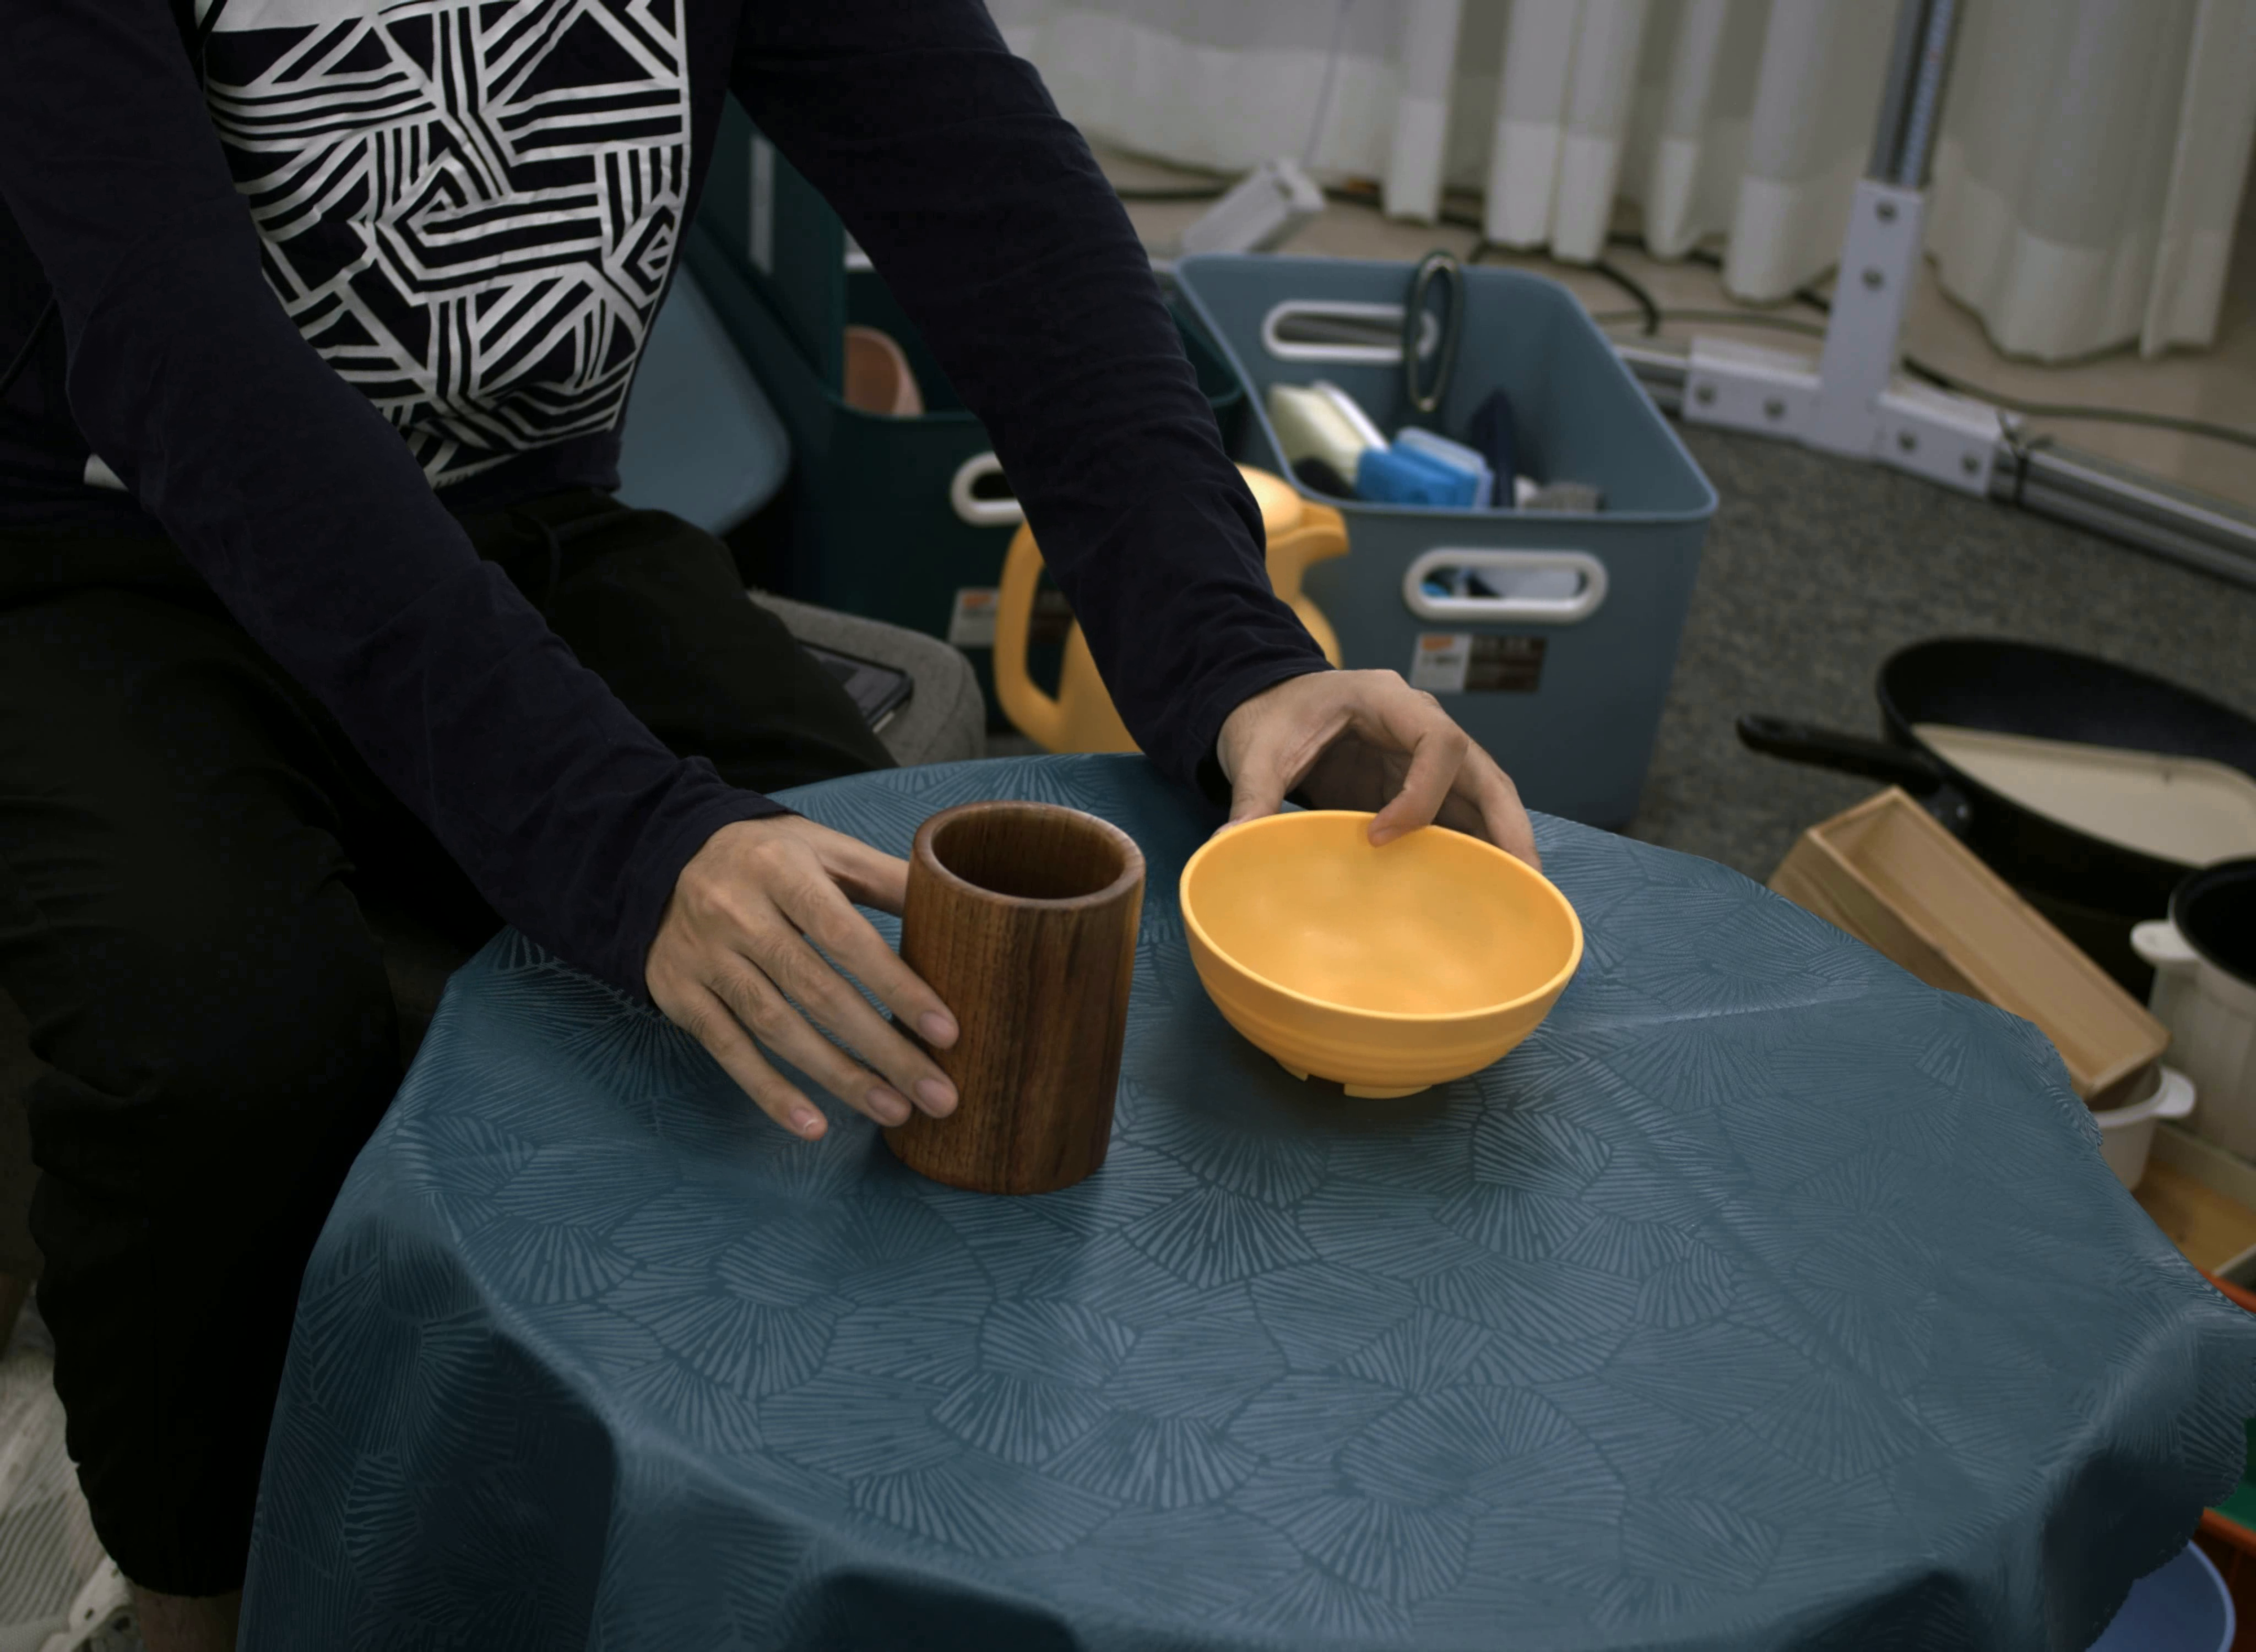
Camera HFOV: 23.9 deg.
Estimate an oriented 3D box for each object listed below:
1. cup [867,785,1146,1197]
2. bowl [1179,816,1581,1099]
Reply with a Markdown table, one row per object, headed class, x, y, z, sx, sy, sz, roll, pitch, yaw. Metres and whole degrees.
| class | x | y | z | sx | sy | sz | roll | pitch | yaw |
| --- | --- | --- | --- | --- | --- | --- | --- | --- | --- |
| cup | -0.043 | 0.055 | 1.801 | 0.087 | 0.118 | 0.088 | 8 | 24 | -4 |
| bowl | 0.086 | 0.055 | 1.893 | 0.145 | 0.060 | 0.146 | 6 | 27 | -3 |
